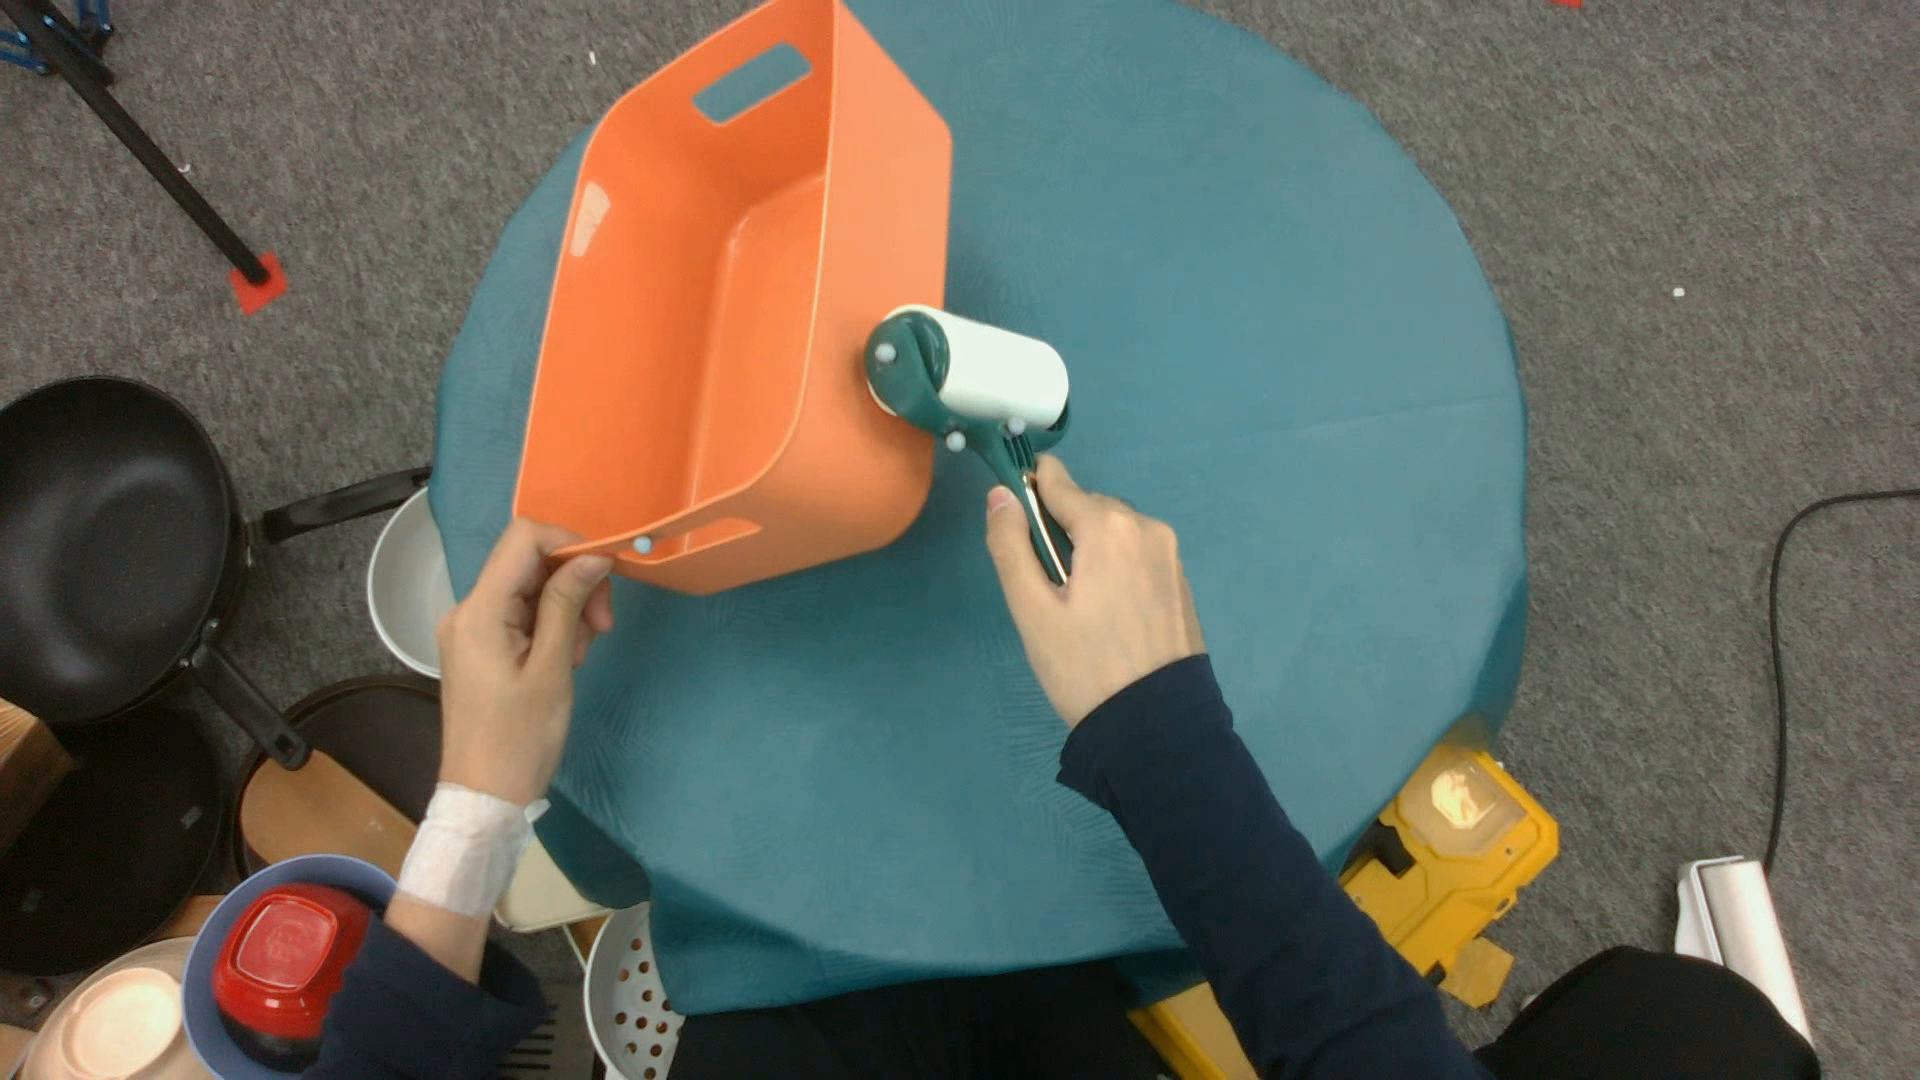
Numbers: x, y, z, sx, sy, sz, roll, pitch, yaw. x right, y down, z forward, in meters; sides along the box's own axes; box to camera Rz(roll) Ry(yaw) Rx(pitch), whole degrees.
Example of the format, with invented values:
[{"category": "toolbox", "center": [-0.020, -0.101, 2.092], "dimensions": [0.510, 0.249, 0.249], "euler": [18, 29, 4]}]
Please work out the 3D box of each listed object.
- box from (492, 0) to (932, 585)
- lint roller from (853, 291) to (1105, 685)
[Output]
[{"category": "box", "center": [-0.111, -0.117, 0.674], "dimensions": [0.198, 0.102, 0.274], "euler": [-16, 60, 34]}, {"category": "lint roller", "center": [0.030, -0.025, 0.603], "dimensions": [0.048, 0.134, 0.180], "euler": [-39, 70, 25]}]
